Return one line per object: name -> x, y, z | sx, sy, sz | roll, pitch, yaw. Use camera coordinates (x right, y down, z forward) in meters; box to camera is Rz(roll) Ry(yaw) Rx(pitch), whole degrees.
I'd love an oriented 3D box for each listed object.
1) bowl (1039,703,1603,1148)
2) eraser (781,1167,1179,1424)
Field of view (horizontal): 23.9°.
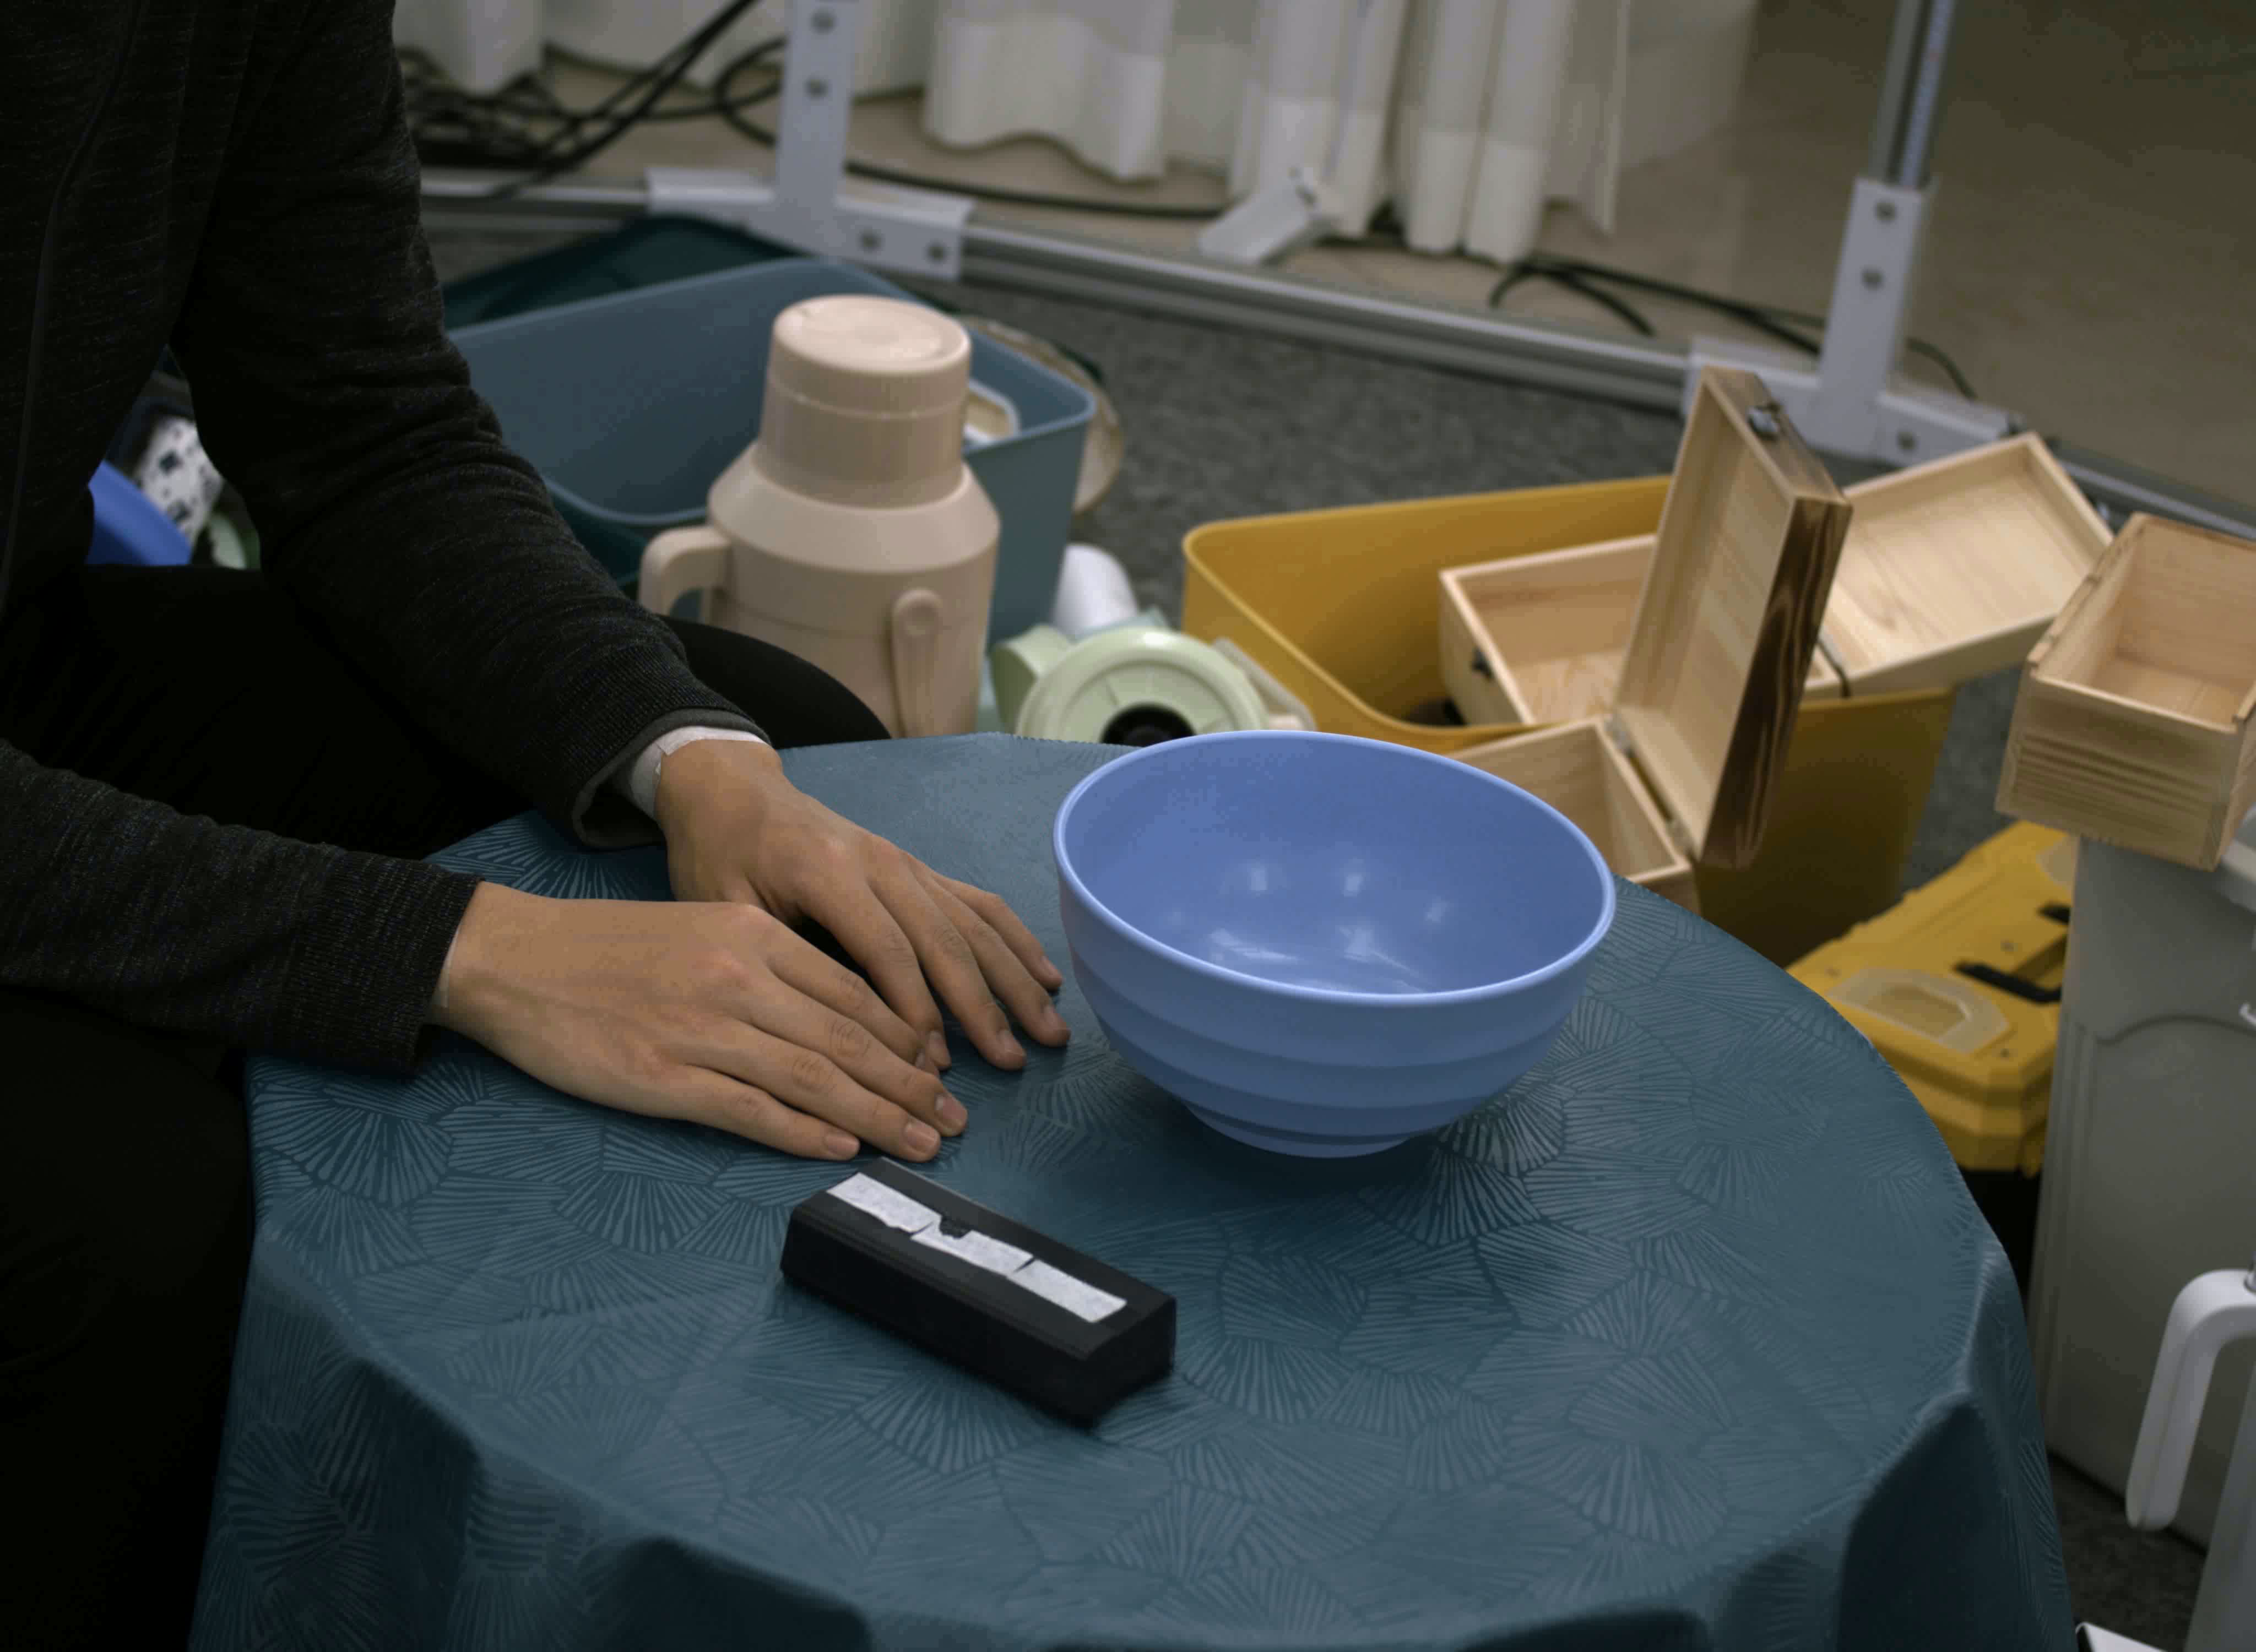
bowl -> 0.062, 0.048, 1.860 | 0.196, 0.095, 0.198 | 4, 33, -3
eraser -> -0.048, 0.150, 1.708 | 0.126, 0.030, 0.053 | 22, 28, 29
